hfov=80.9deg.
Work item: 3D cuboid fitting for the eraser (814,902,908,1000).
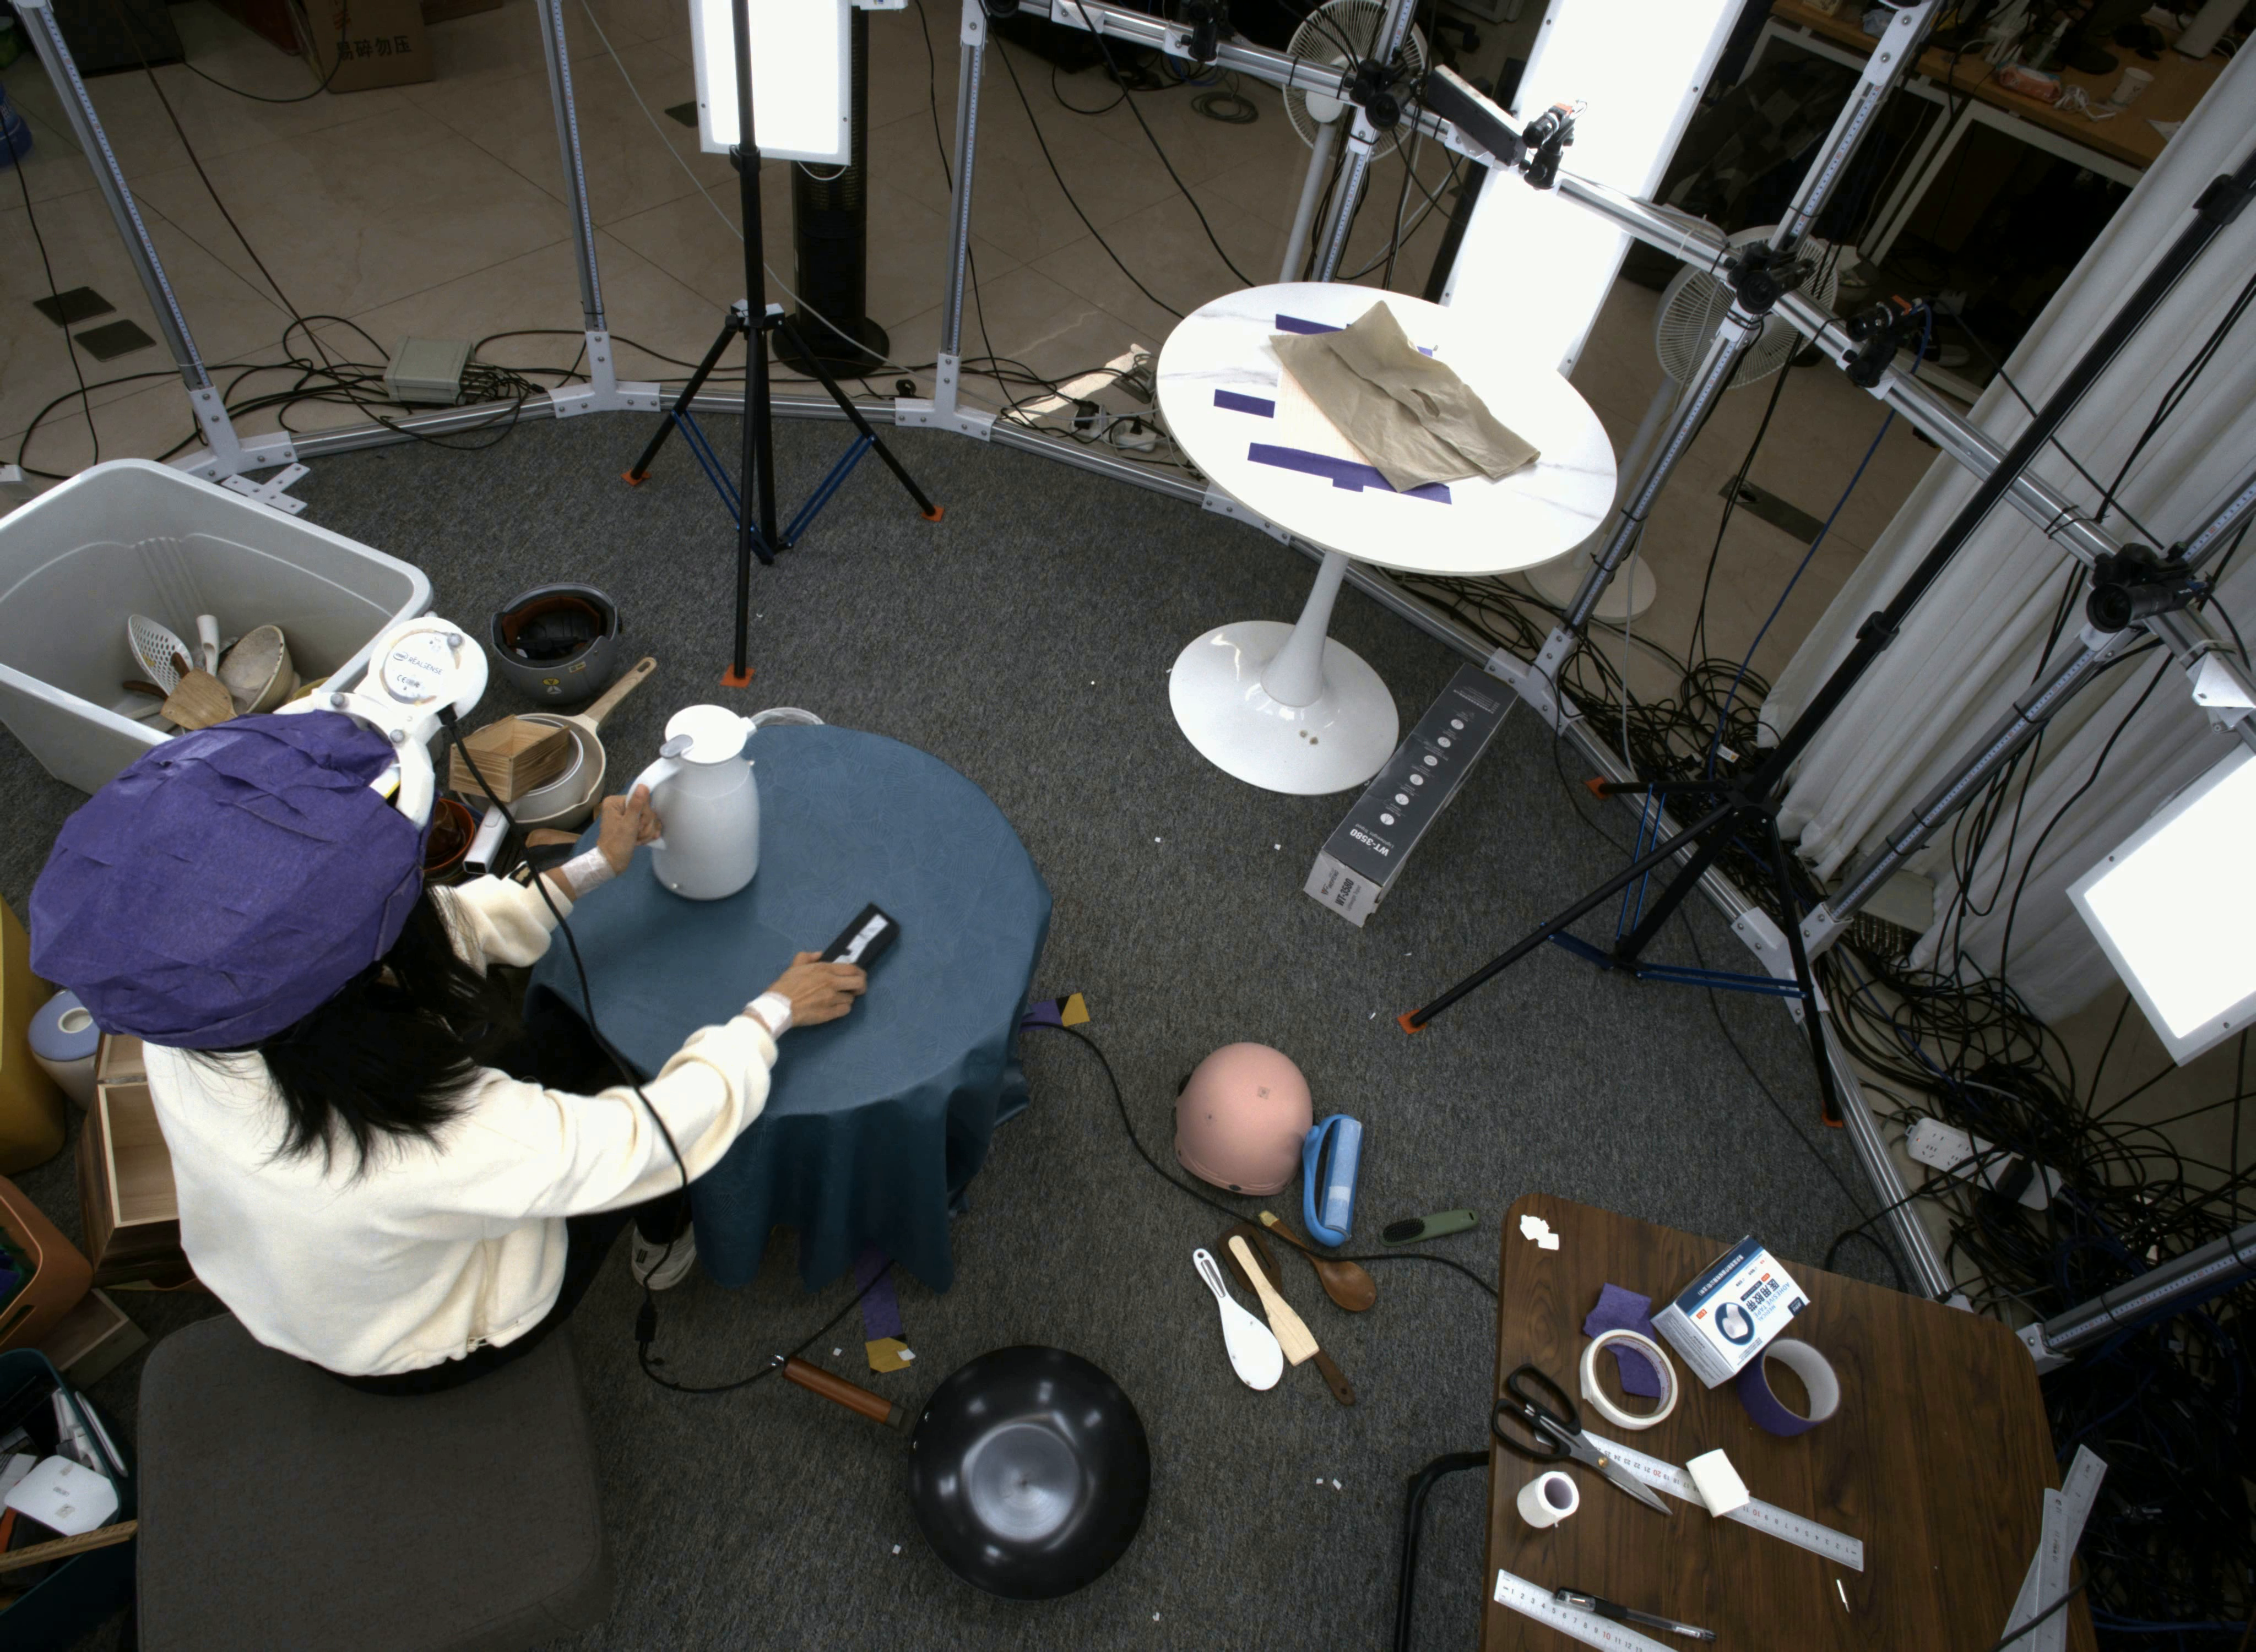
[{"bbox_3d":[-0.330,0.150,1.607,0.053,0.031,0.125,36,53,2],"label":"eraser"}]

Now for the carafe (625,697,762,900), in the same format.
[{"bbox_3d":[-0.525,-0.030,1.548,0.129,0.253,0.168,42,53,19],"label":"carafe"}]
